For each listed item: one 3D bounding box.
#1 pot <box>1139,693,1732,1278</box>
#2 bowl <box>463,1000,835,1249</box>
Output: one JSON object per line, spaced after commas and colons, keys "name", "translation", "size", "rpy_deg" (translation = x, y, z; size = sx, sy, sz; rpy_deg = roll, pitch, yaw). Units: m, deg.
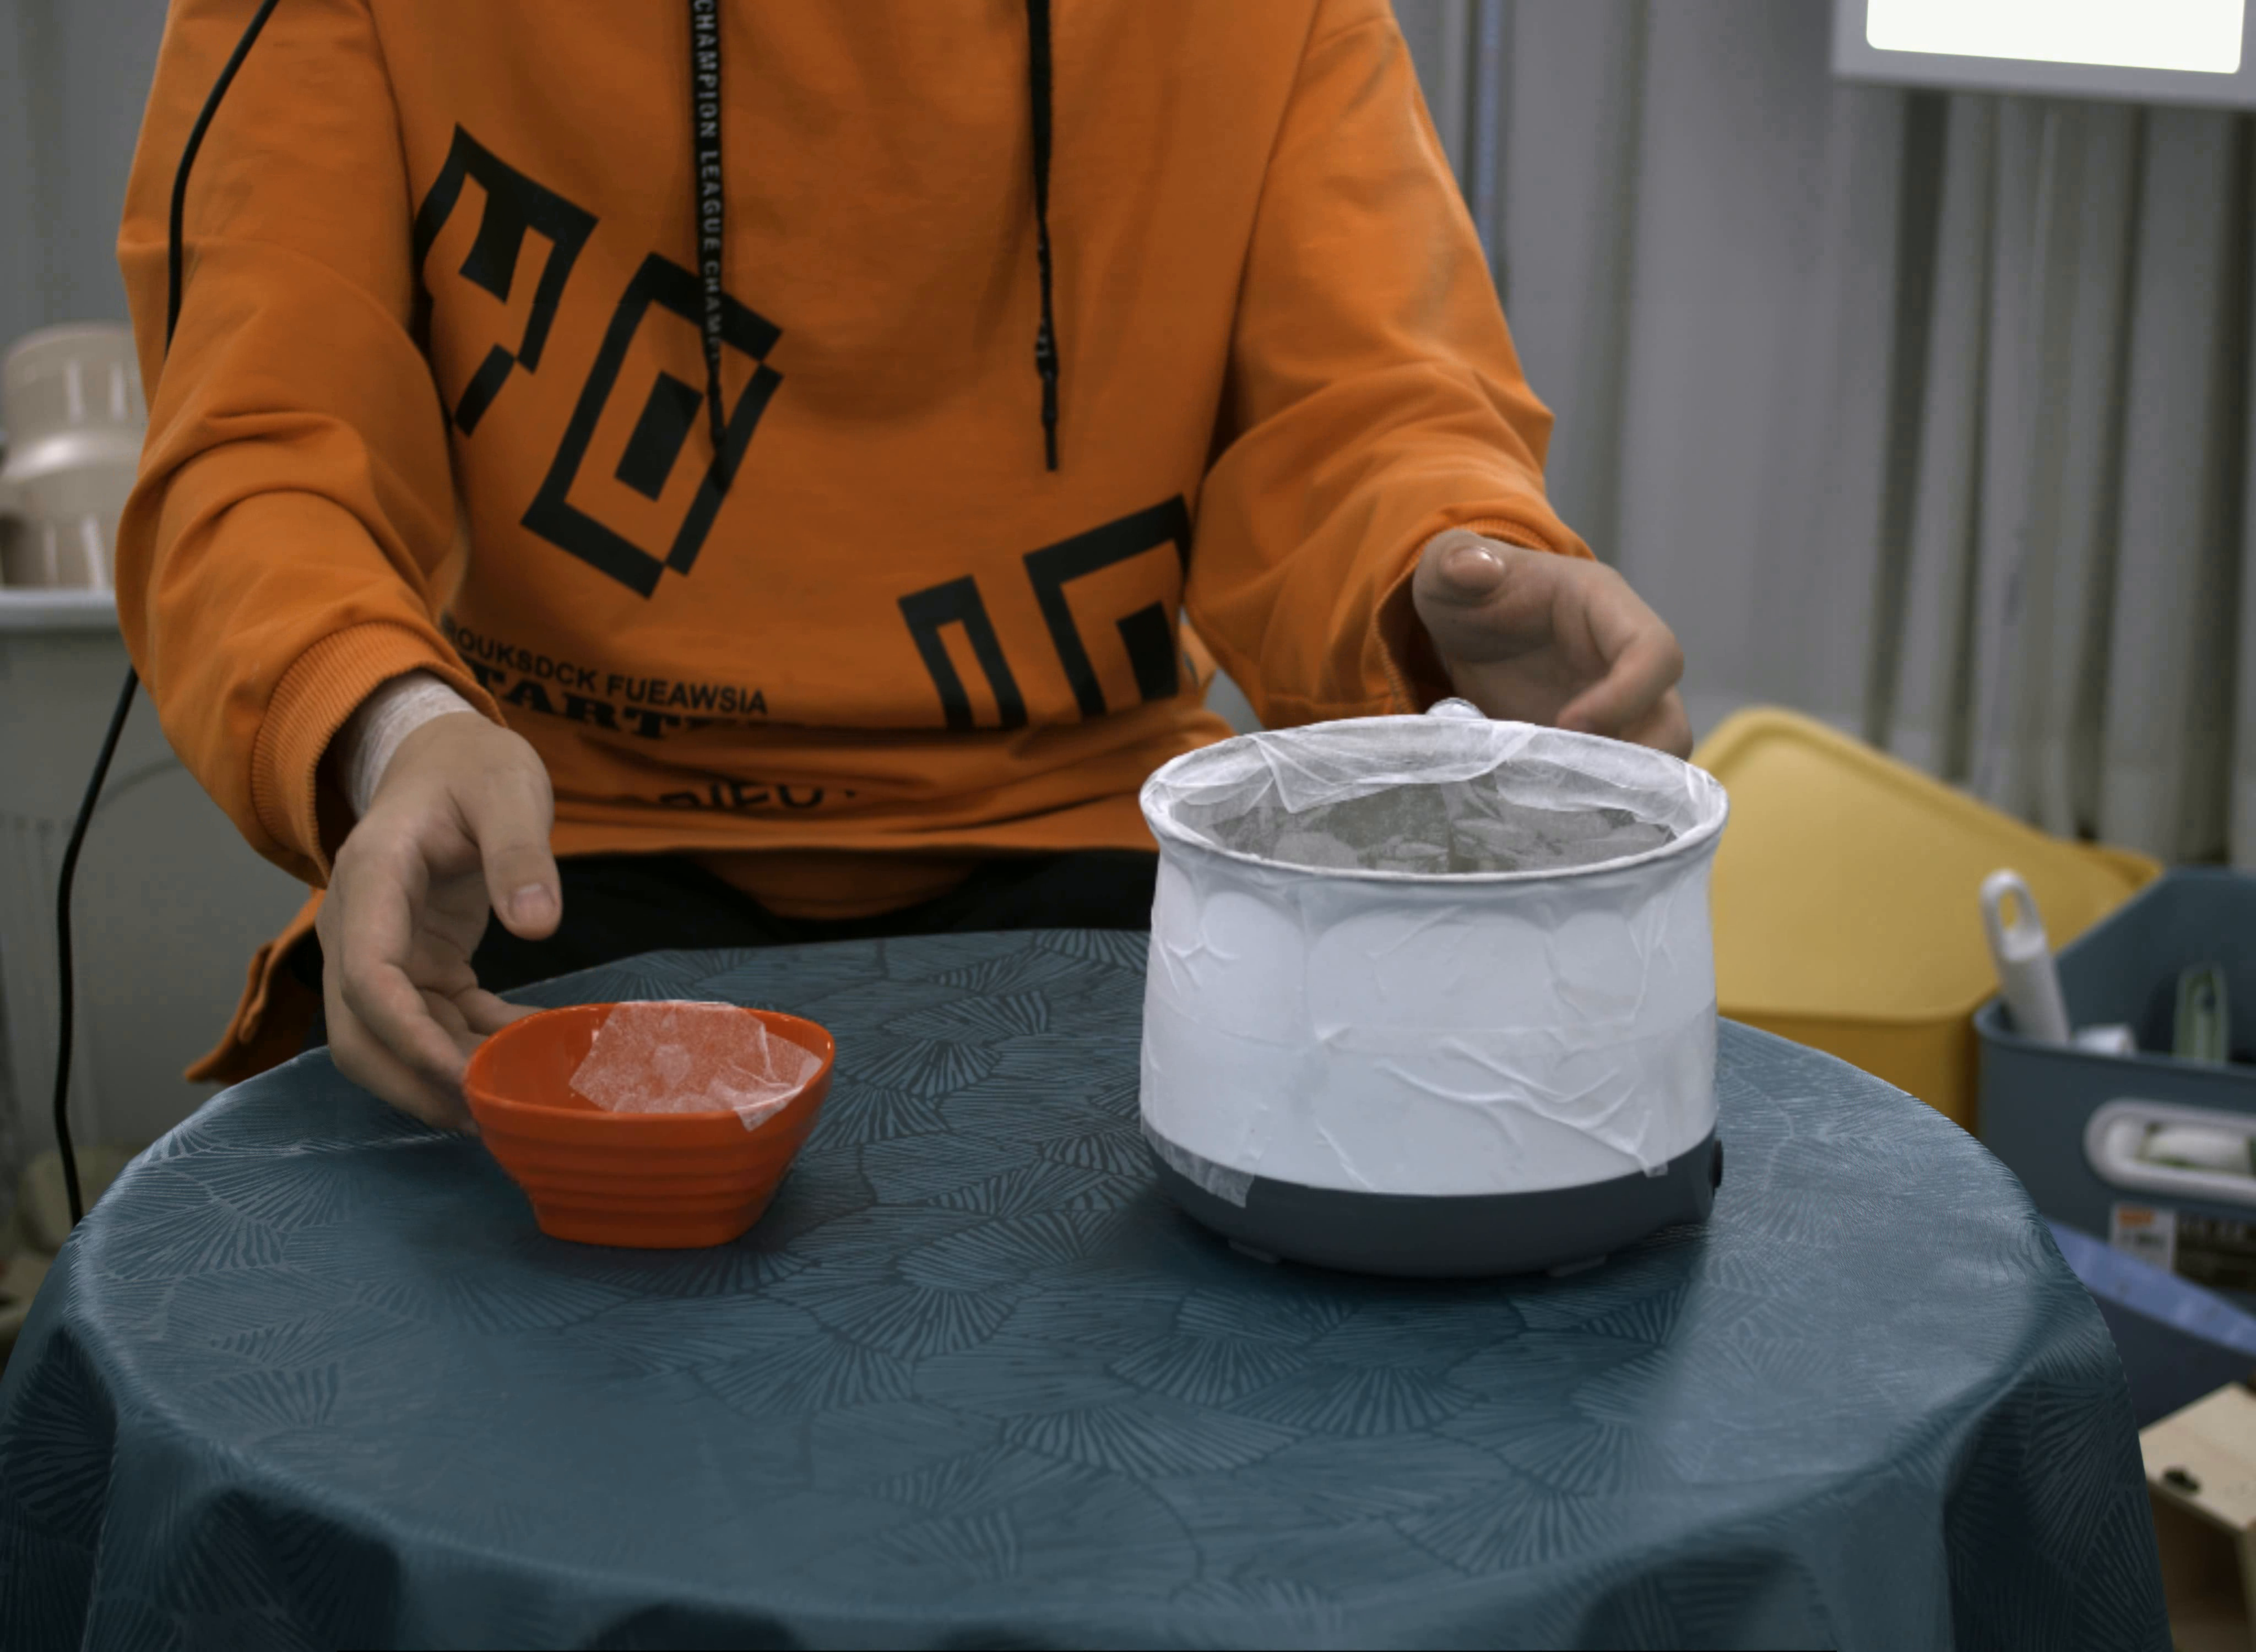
{"name": "pot", "translation": [0.094, 0.043, 1.615], "size": [0.178, 0.138, 0.233], "rpy_deg": [2, 16, 4]}
{"name": "bowl", "translation": [-0.144, 0.092, 1.594], "size": [0.118, 0.052, 0.118], "rpy_deg": [0, 16, 1]}
